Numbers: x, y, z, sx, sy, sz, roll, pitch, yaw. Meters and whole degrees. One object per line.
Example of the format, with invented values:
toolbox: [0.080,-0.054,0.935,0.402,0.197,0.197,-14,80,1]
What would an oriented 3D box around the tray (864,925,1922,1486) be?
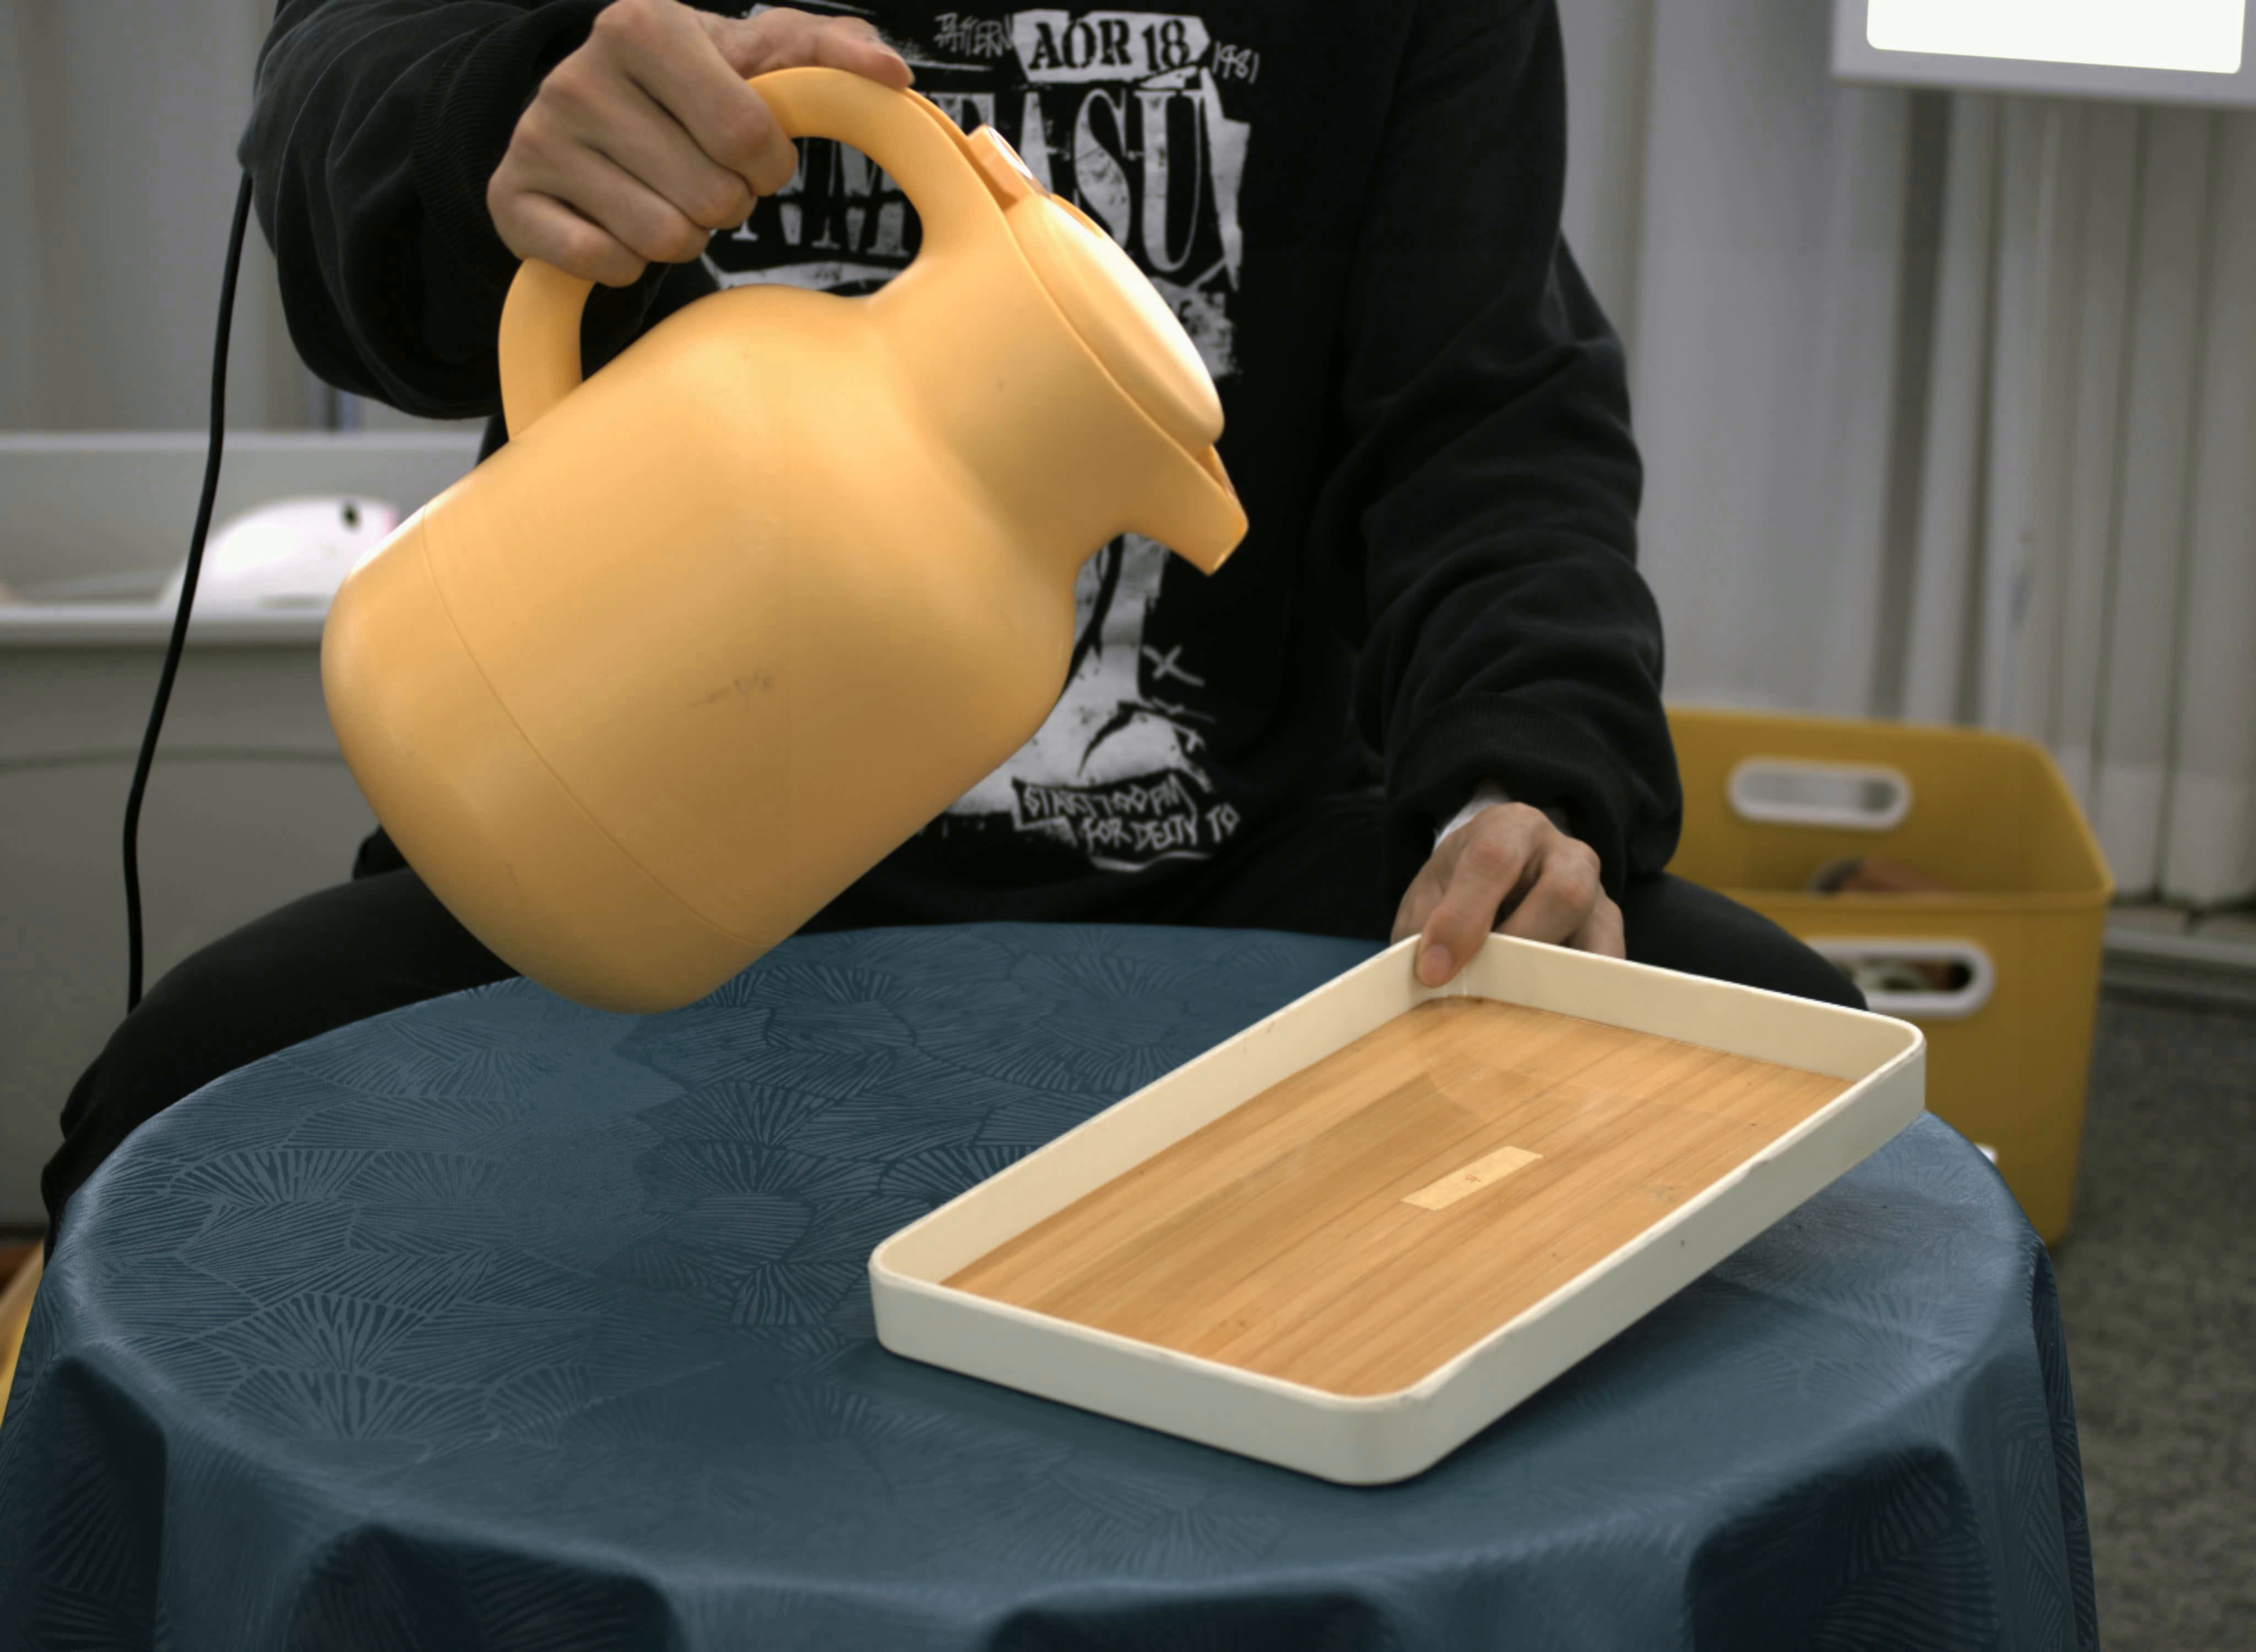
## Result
tray: [0.083,0.104,1.545,0.189,0.027,0.301,13,26,35]

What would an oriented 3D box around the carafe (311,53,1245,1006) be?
carafe: [-0.107,-0.092,1.506,0.260,0.202,0.164,-36,-3,11]
